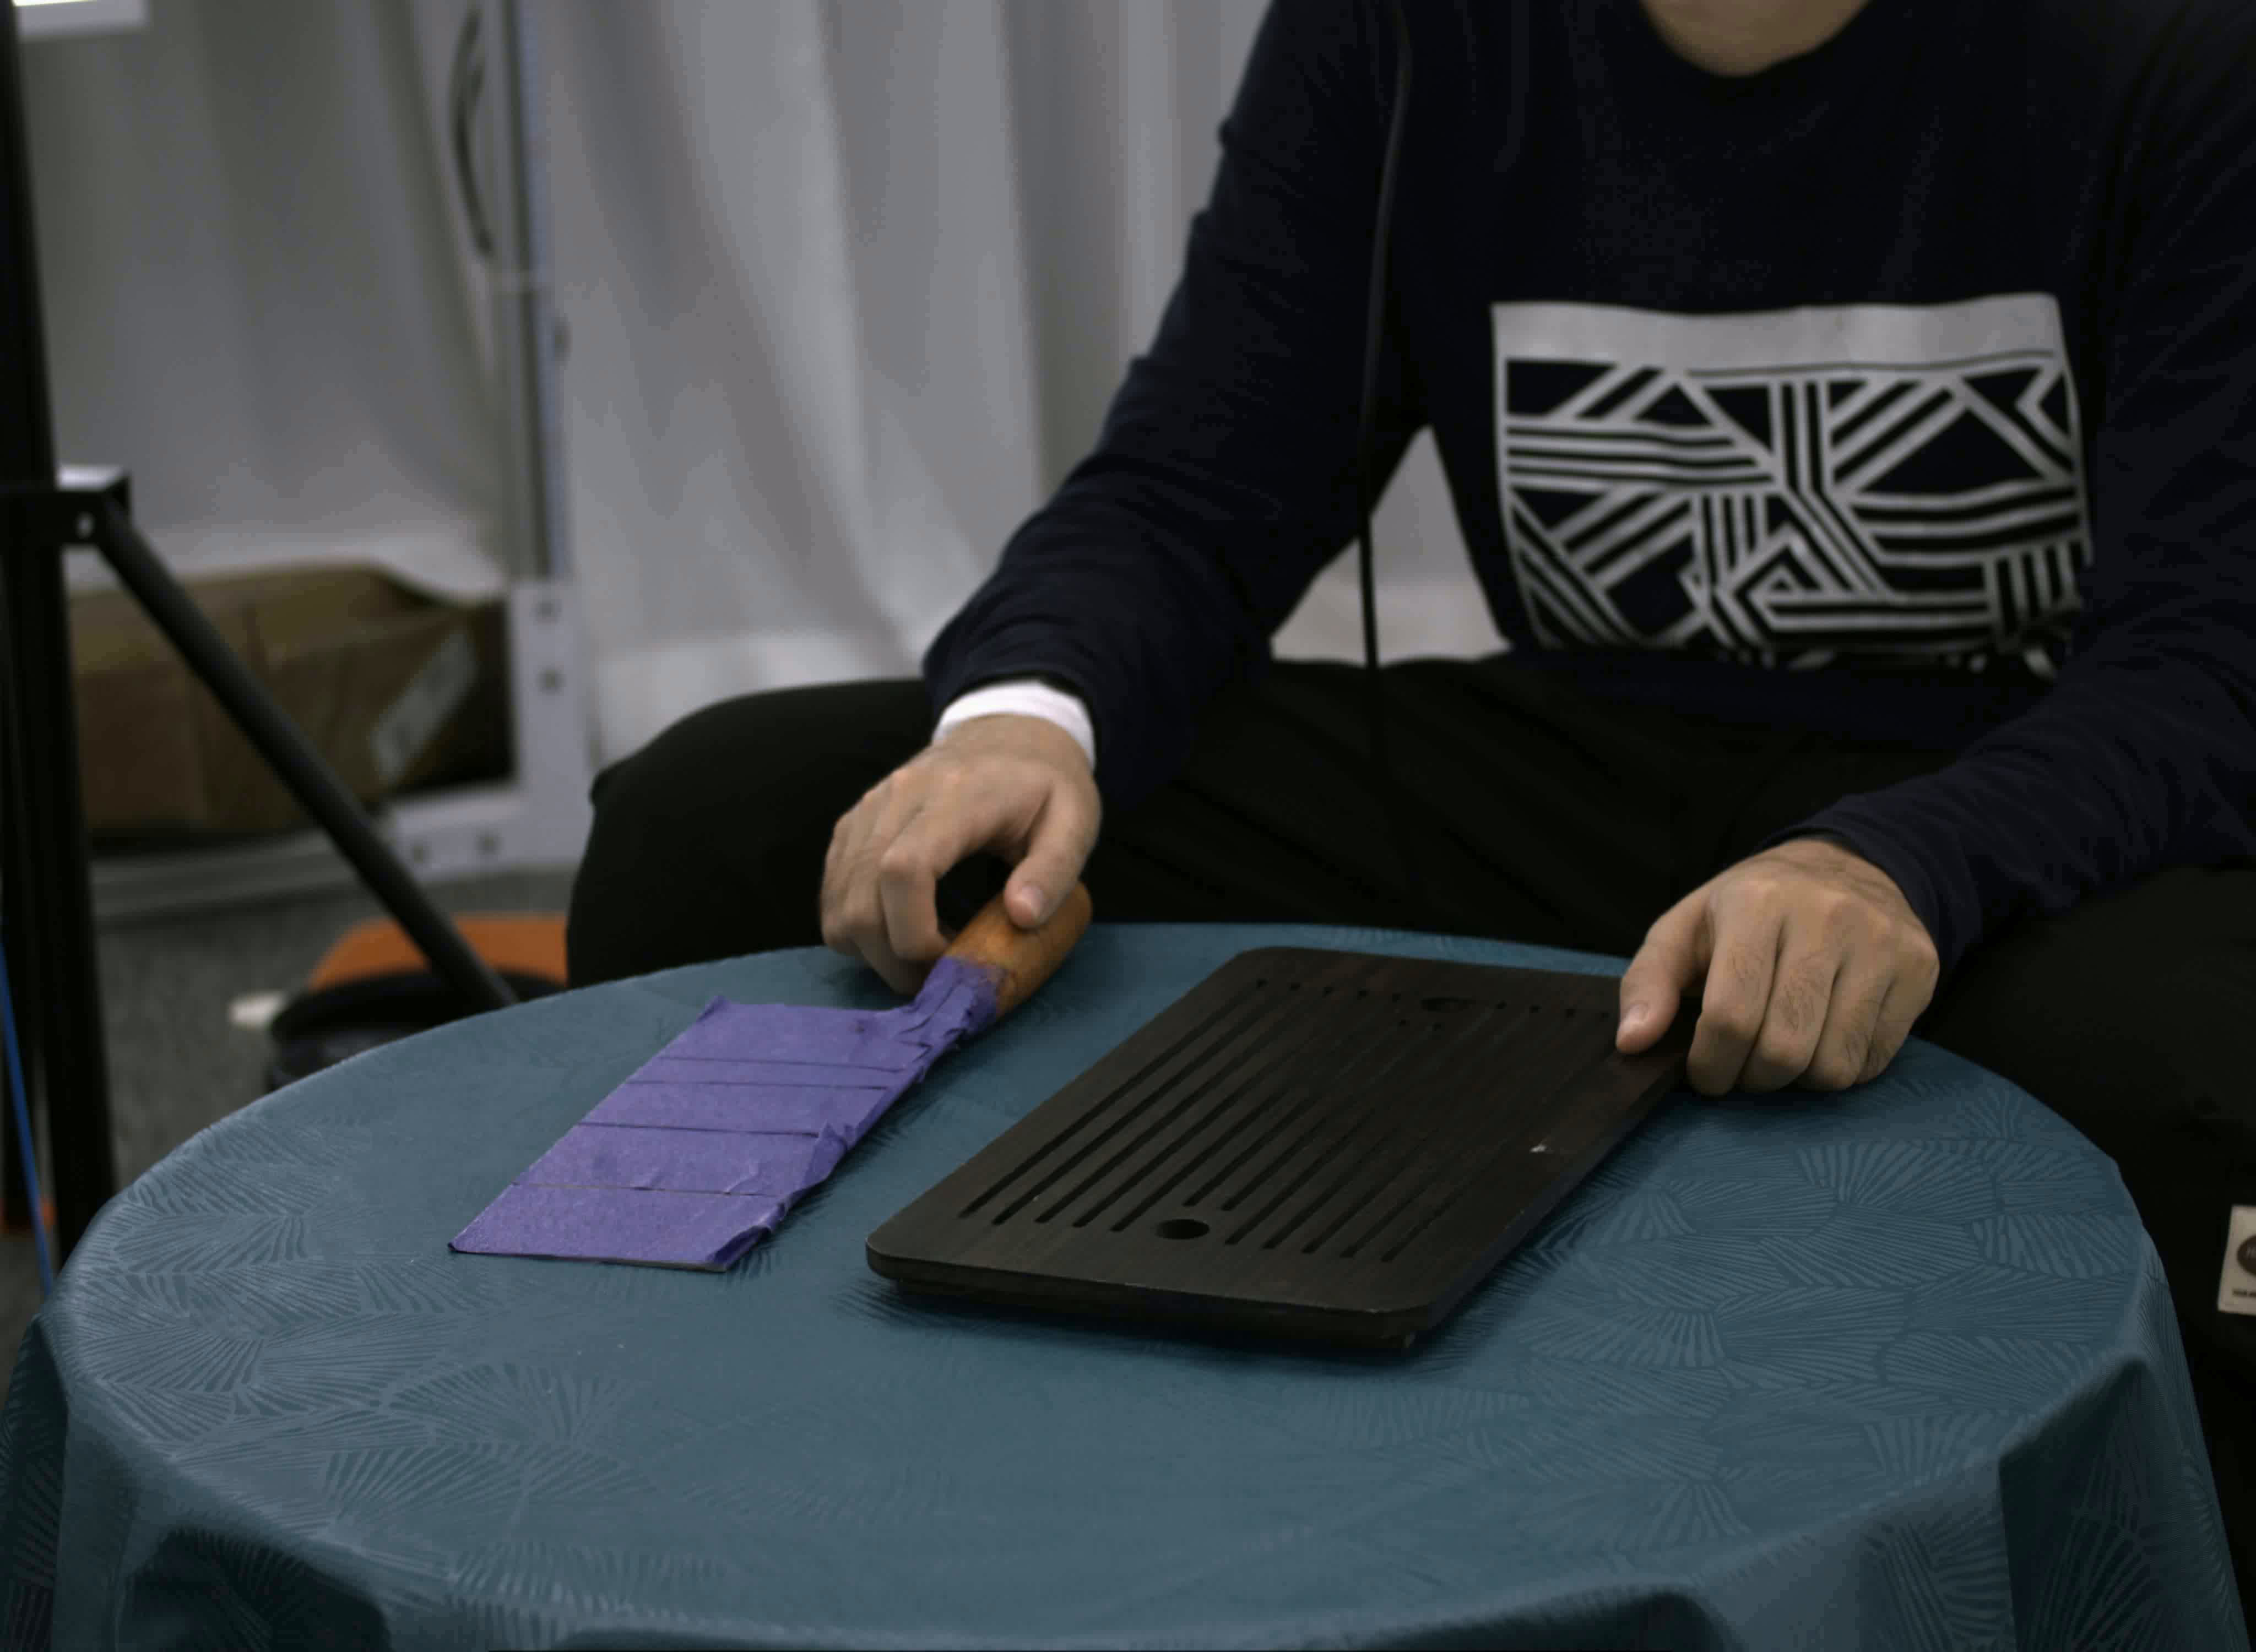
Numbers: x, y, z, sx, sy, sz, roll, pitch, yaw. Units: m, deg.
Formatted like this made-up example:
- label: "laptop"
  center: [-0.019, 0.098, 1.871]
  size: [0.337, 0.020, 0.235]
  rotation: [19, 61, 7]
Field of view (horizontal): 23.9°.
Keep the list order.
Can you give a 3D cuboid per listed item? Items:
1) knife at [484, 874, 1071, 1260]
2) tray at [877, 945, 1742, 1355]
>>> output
- label: "knife"
  center: [-0.106, 0.071, 1.659]
  size: [0.105, 0.032, 0.312]
  rotation: [3, 17, 18]
- label: "tray"
  center: [0.062, 0.093, 1.575]
  size: [0.172, 0.018, 0.301]
  rotation: [5, 17, 23]
